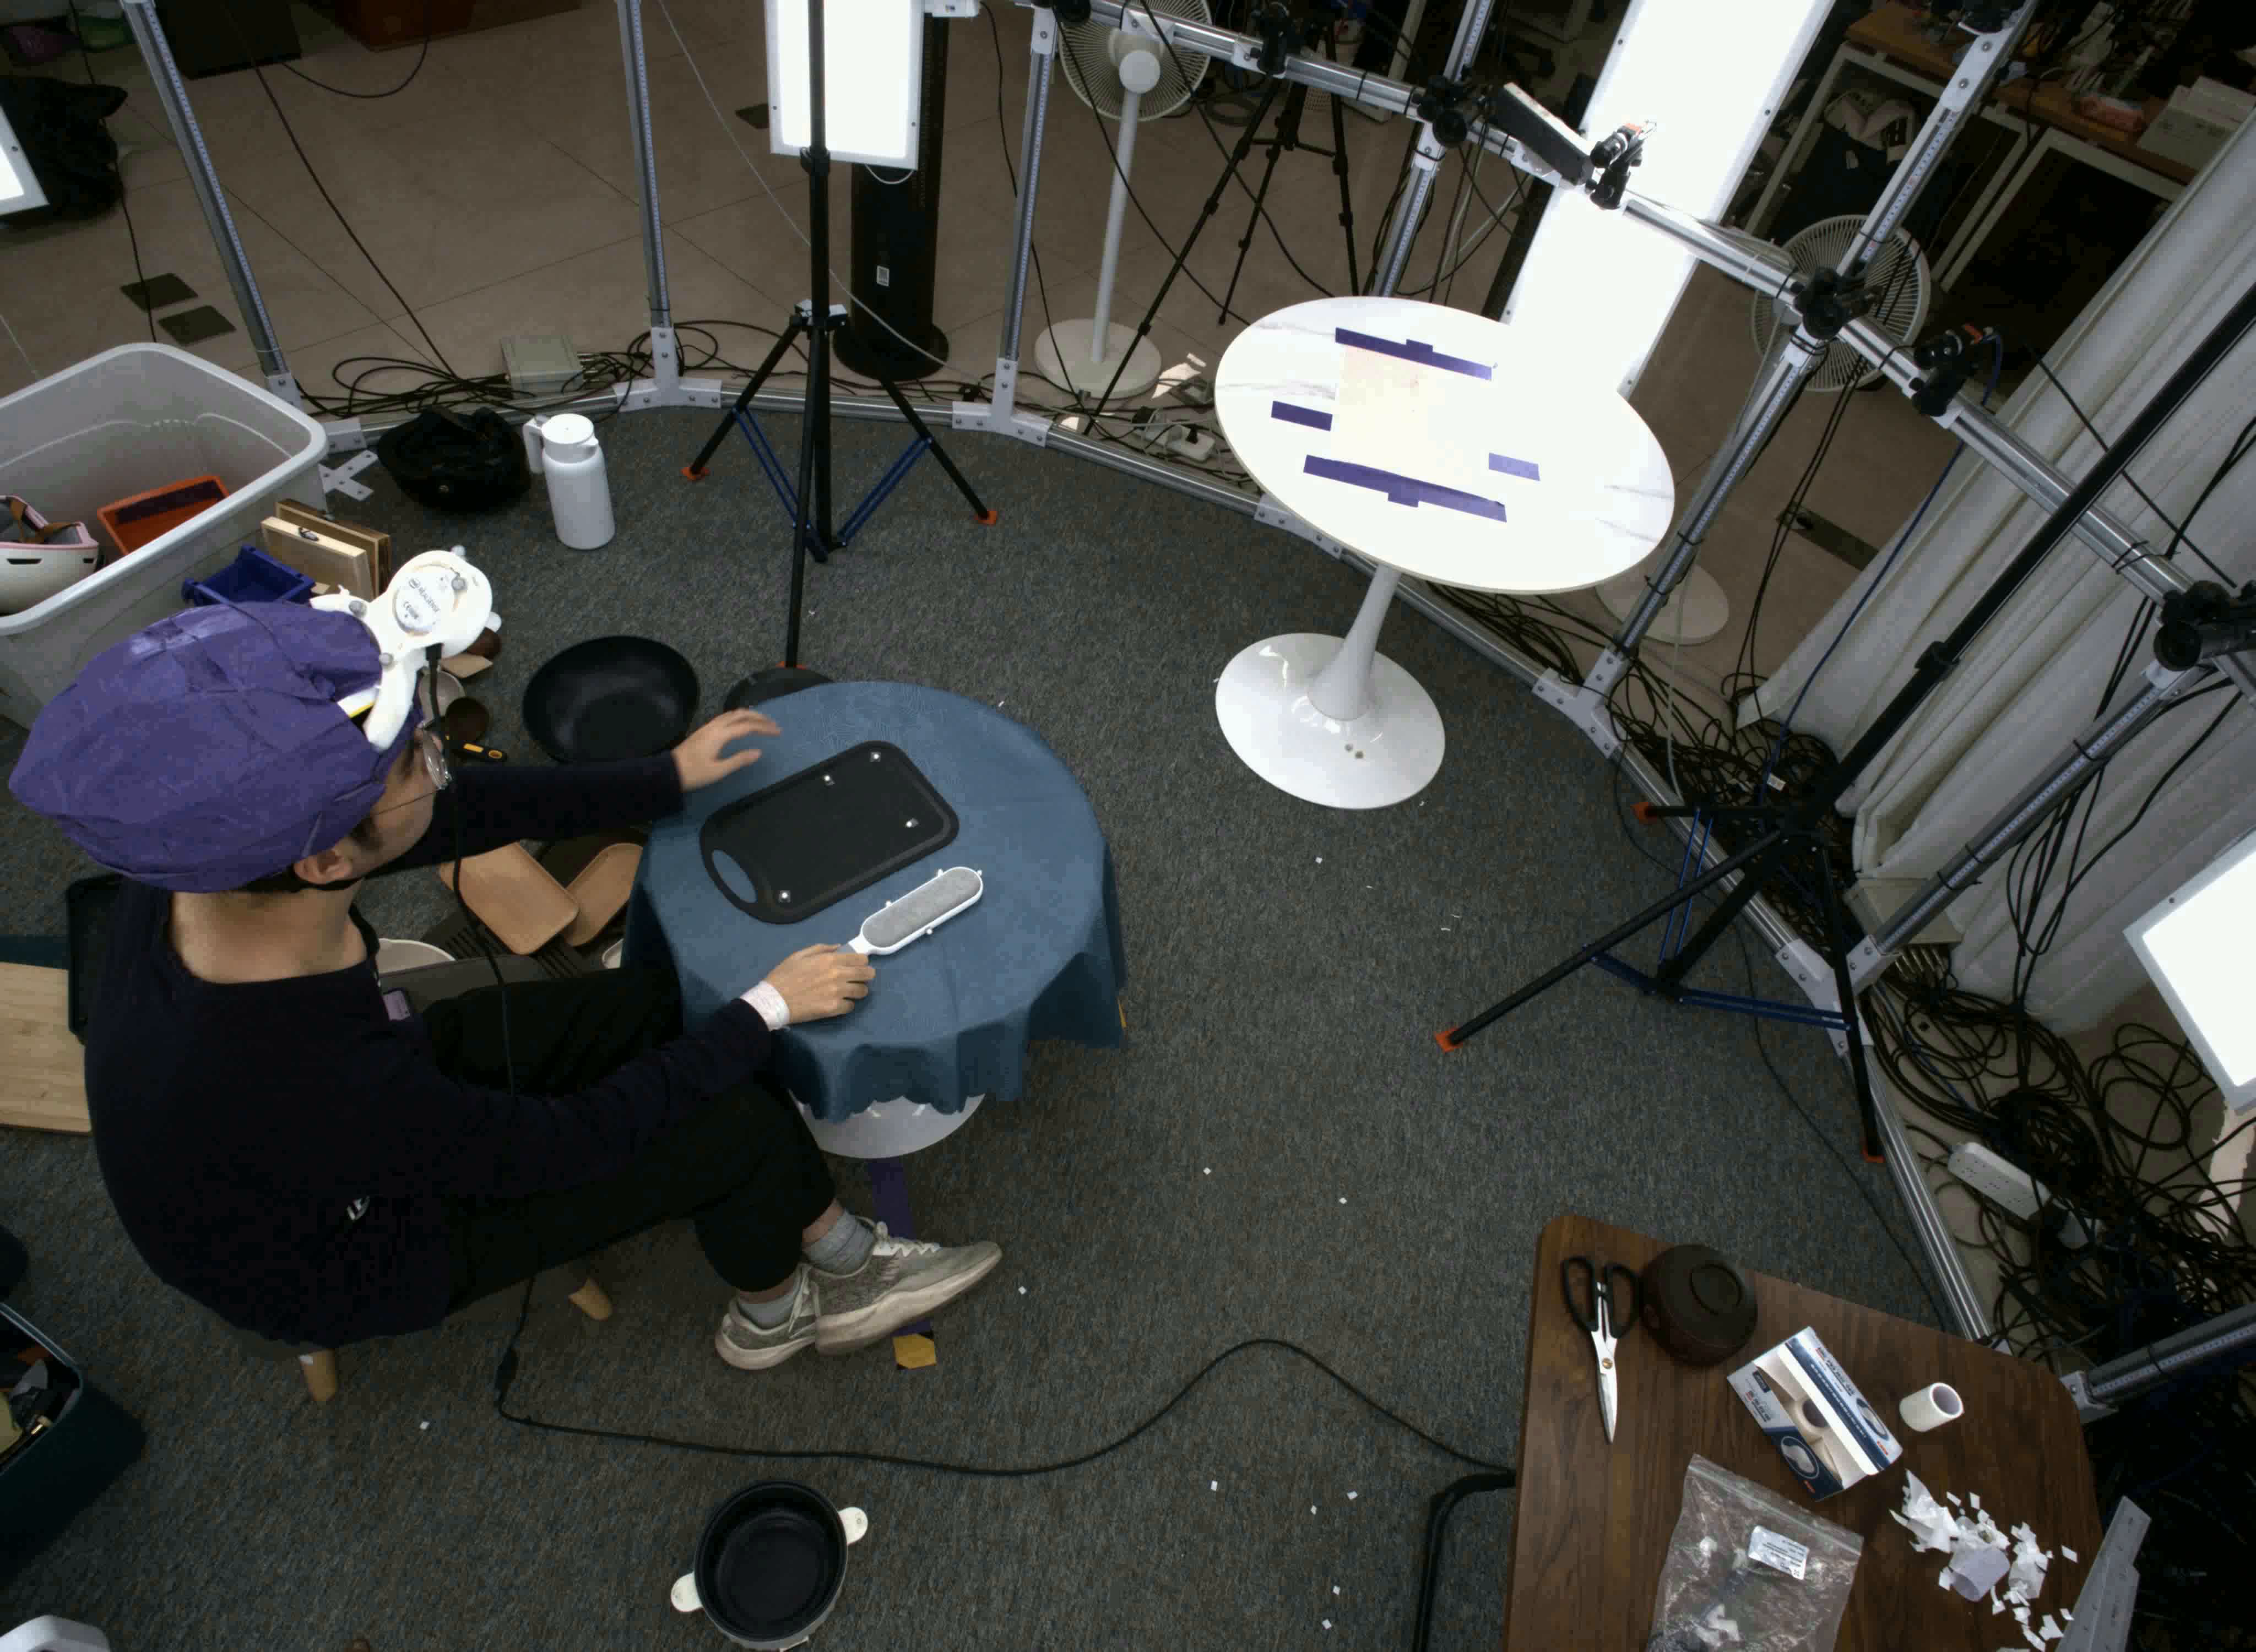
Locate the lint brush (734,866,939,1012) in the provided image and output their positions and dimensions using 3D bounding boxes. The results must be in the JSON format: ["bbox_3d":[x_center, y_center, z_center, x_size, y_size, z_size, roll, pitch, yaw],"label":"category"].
[{"bbox_3d":[-0.363,0.138,1.631,0.309,0.021,0.059,-35,74,-32],"label":"lint brush"}]

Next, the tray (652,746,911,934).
[{"bbox_3d":[-0.461,0.014,1.712,0.326,0.010,0.206,-32,67,-31],"label":"tray"}]
